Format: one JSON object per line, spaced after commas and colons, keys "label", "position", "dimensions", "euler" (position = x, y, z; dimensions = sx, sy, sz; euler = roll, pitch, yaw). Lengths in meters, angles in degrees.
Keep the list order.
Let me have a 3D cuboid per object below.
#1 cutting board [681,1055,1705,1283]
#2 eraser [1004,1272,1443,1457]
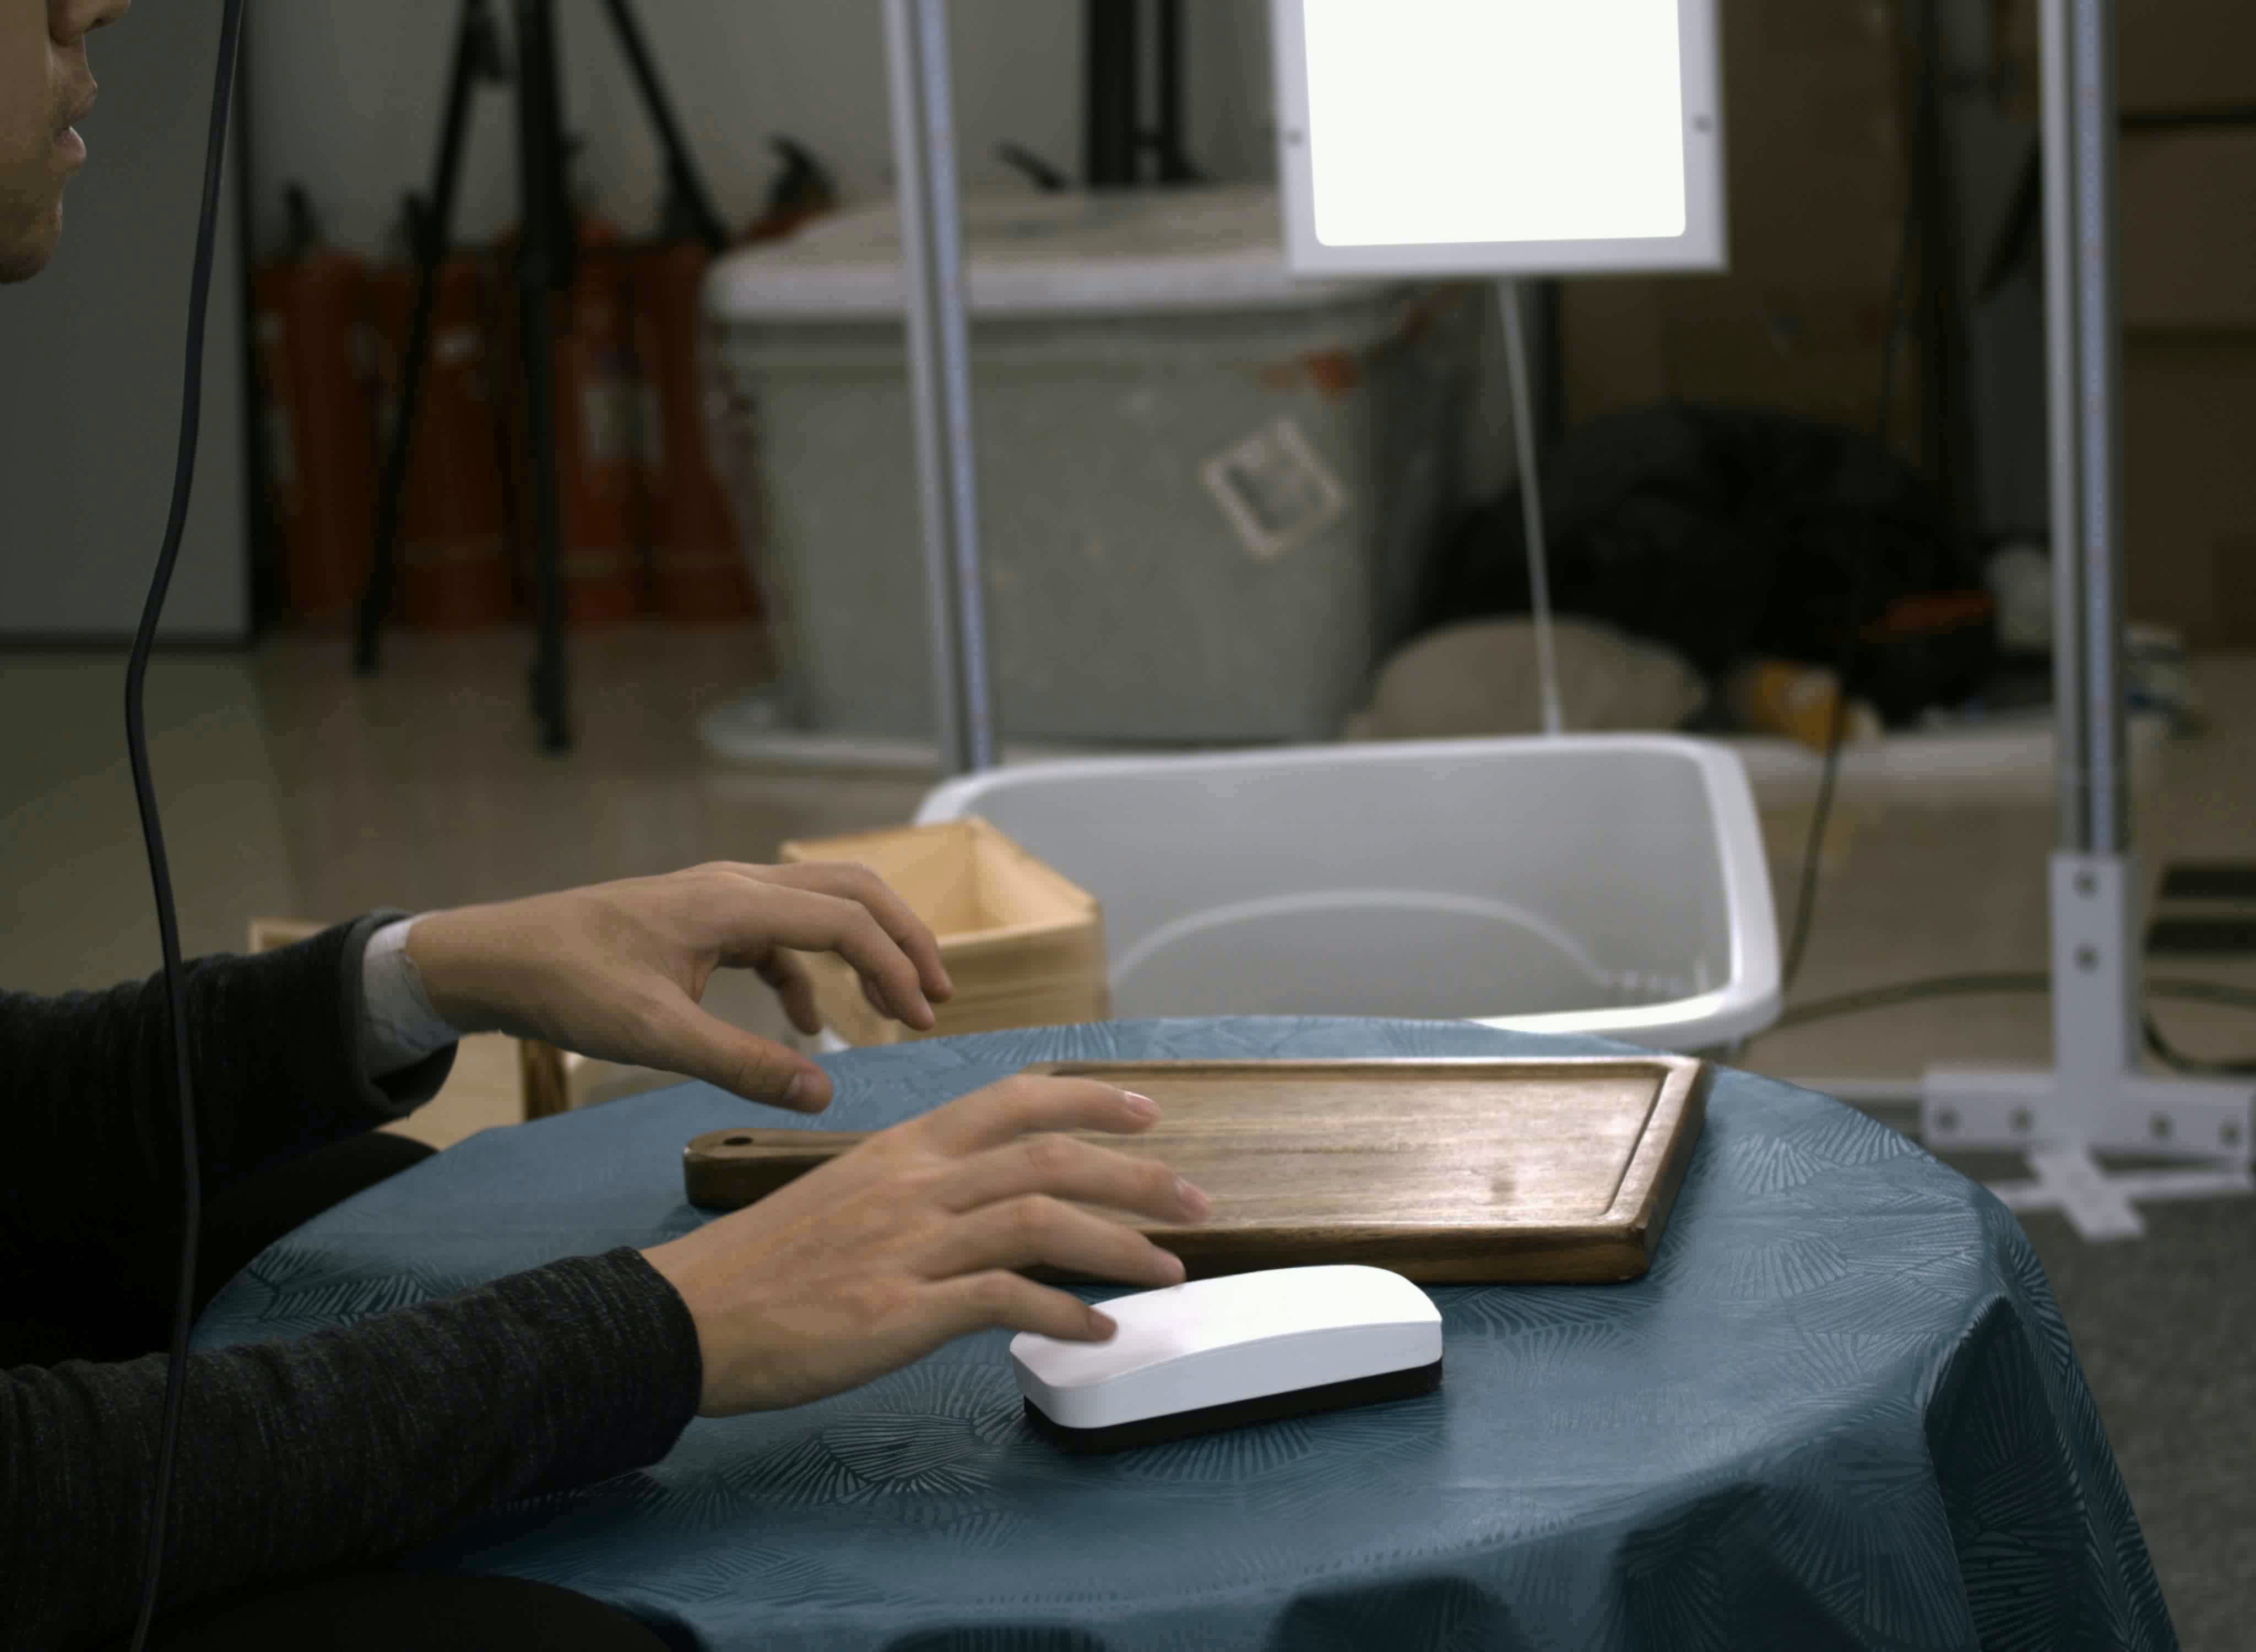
{"label": "cutting board", "position": [0.016, 0.116, 1.889], "dimensions": [0.355, 0.023, 0.198], "euler": [-1, 14, 15]}
{"label": "eraser", "position": [0.029, 0.161, 1.683], "dimensions": [0.129, 0.034, 0.064], "euler": [-8, 15, -15]}
